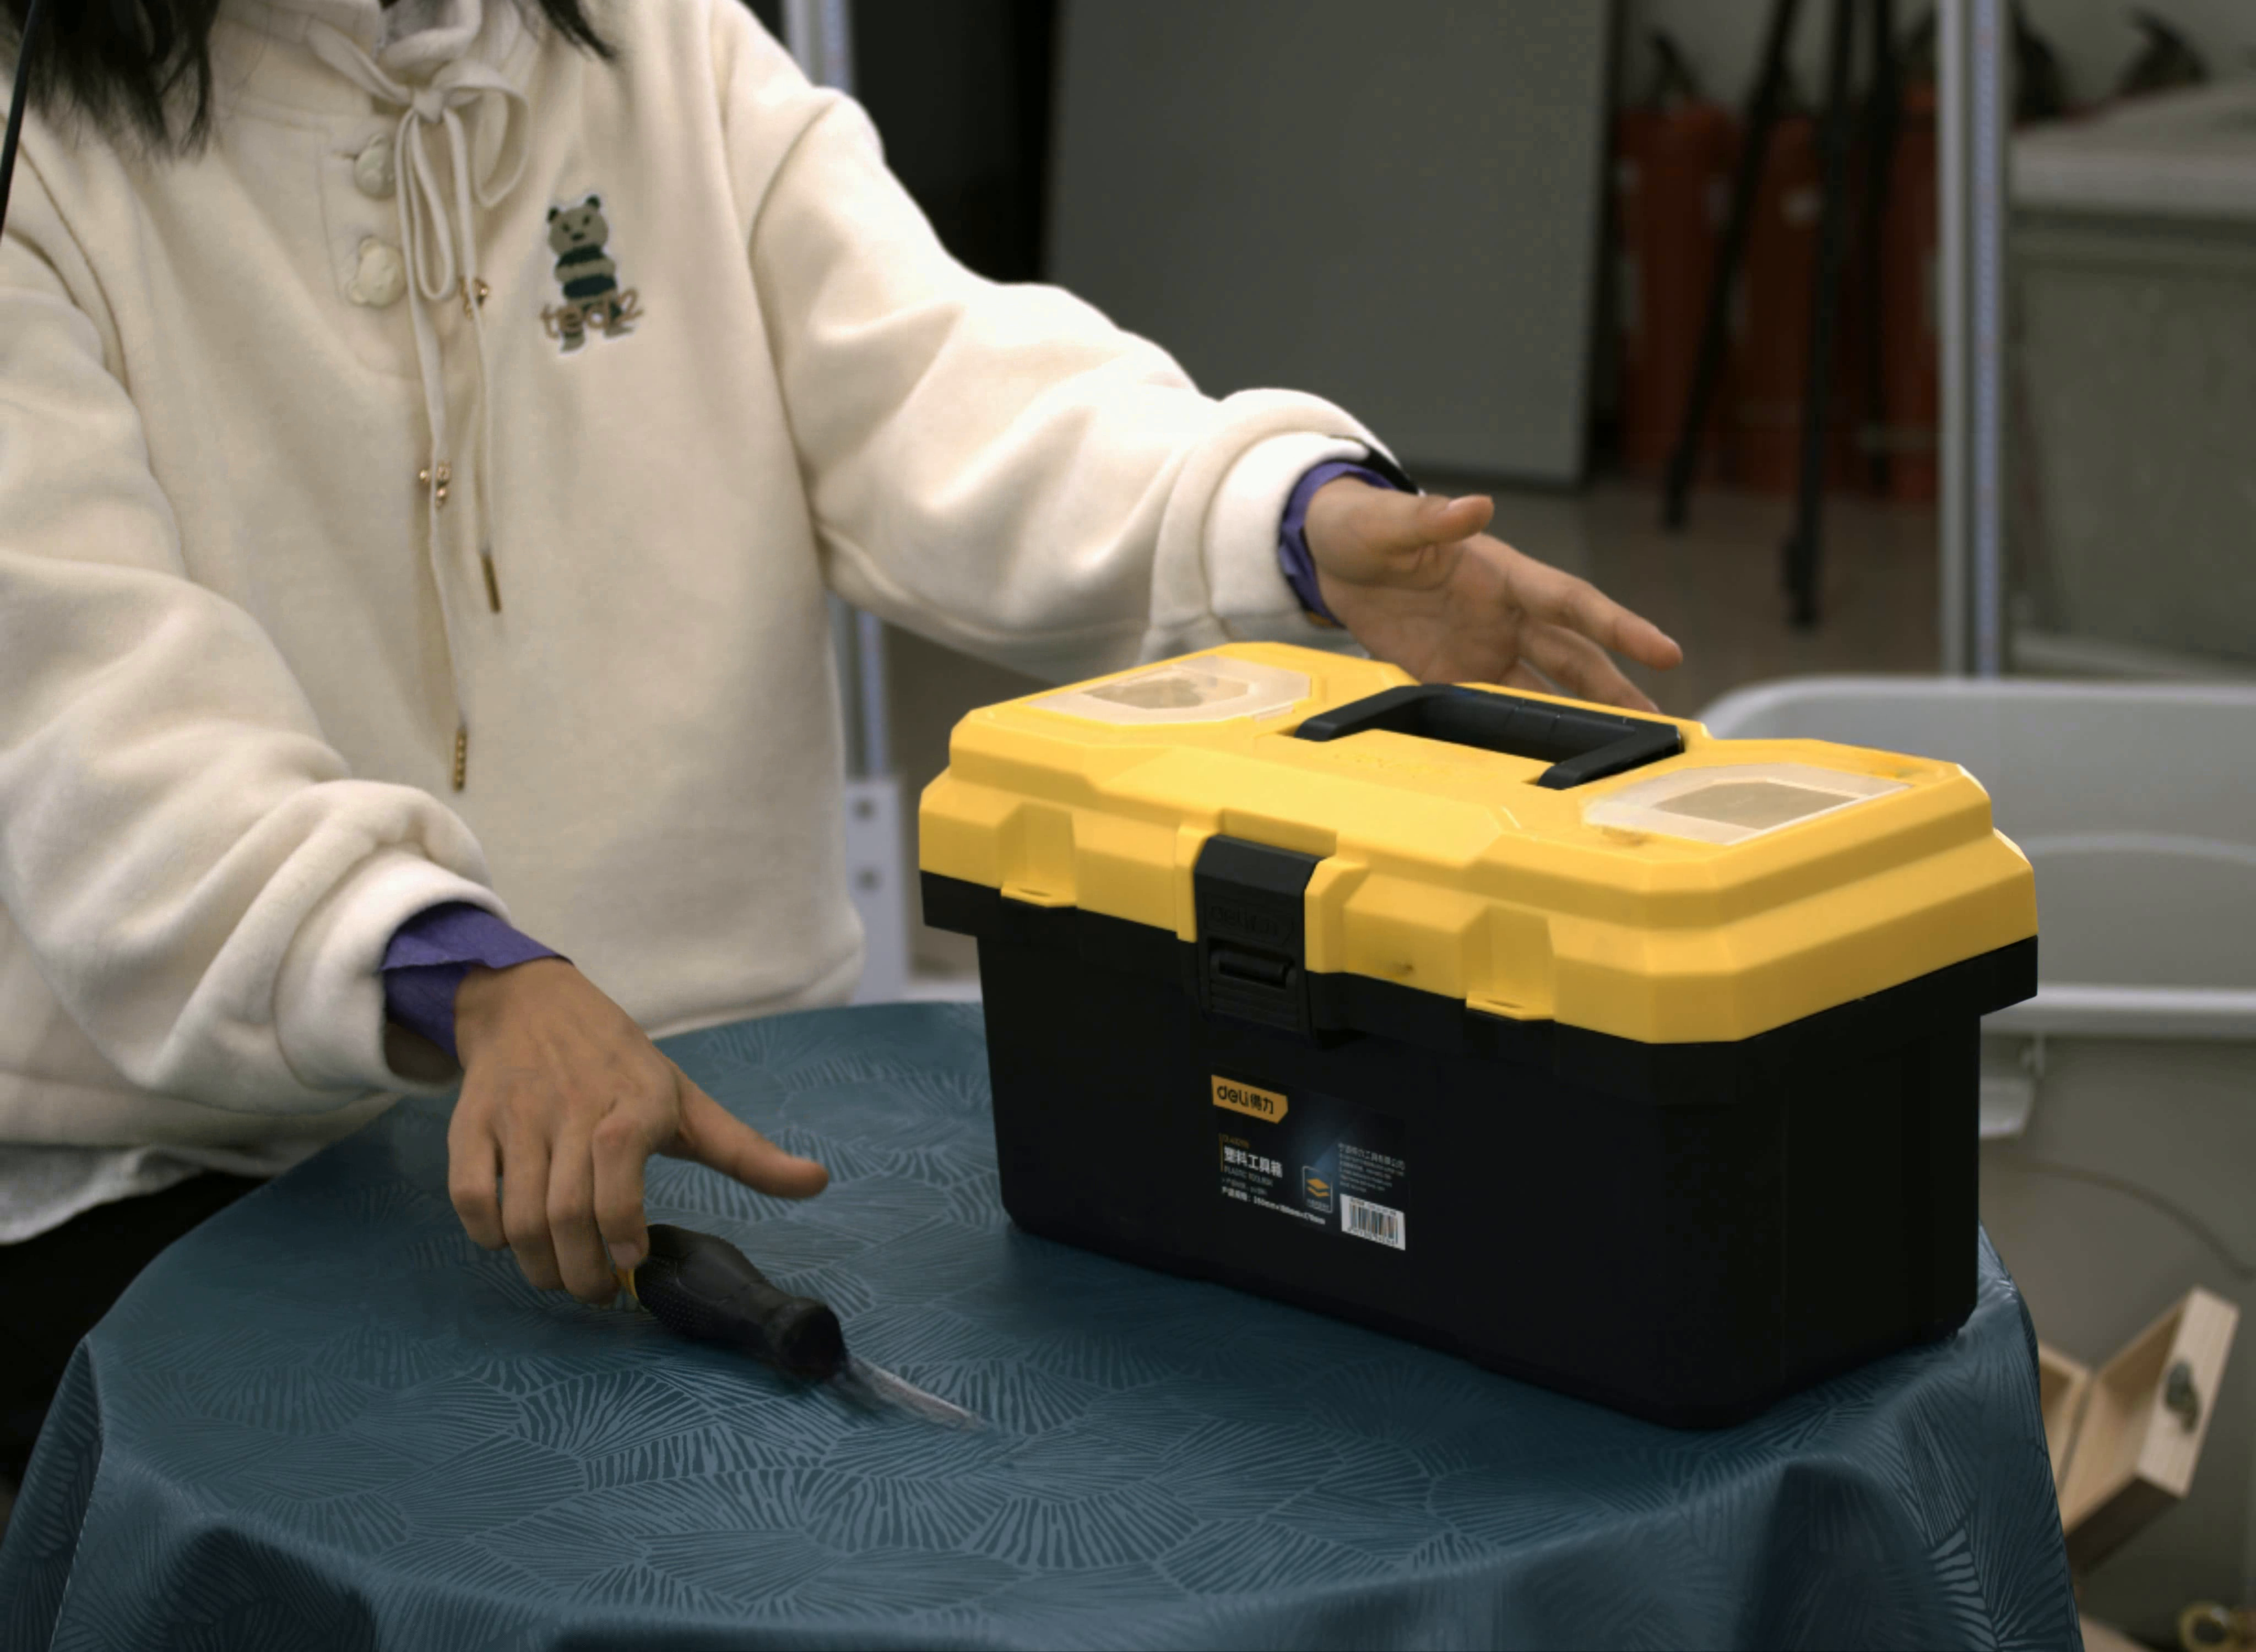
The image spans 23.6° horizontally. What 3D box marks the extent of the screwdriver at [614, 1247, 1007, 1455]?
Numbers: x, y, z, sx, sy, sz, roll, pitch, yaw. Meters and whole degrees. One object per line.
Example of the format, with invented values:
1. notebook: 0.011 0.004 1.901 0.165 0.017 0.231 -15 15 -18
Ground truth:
1. screwdriver: -0.094 0.162 1.611 0.031 0.032 0.200 -13 20 -34

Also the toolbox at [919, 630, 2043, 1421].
1. toolbox: 0.101 0.053 1.648 0.177 0.175 0.355 -15 17 -38
